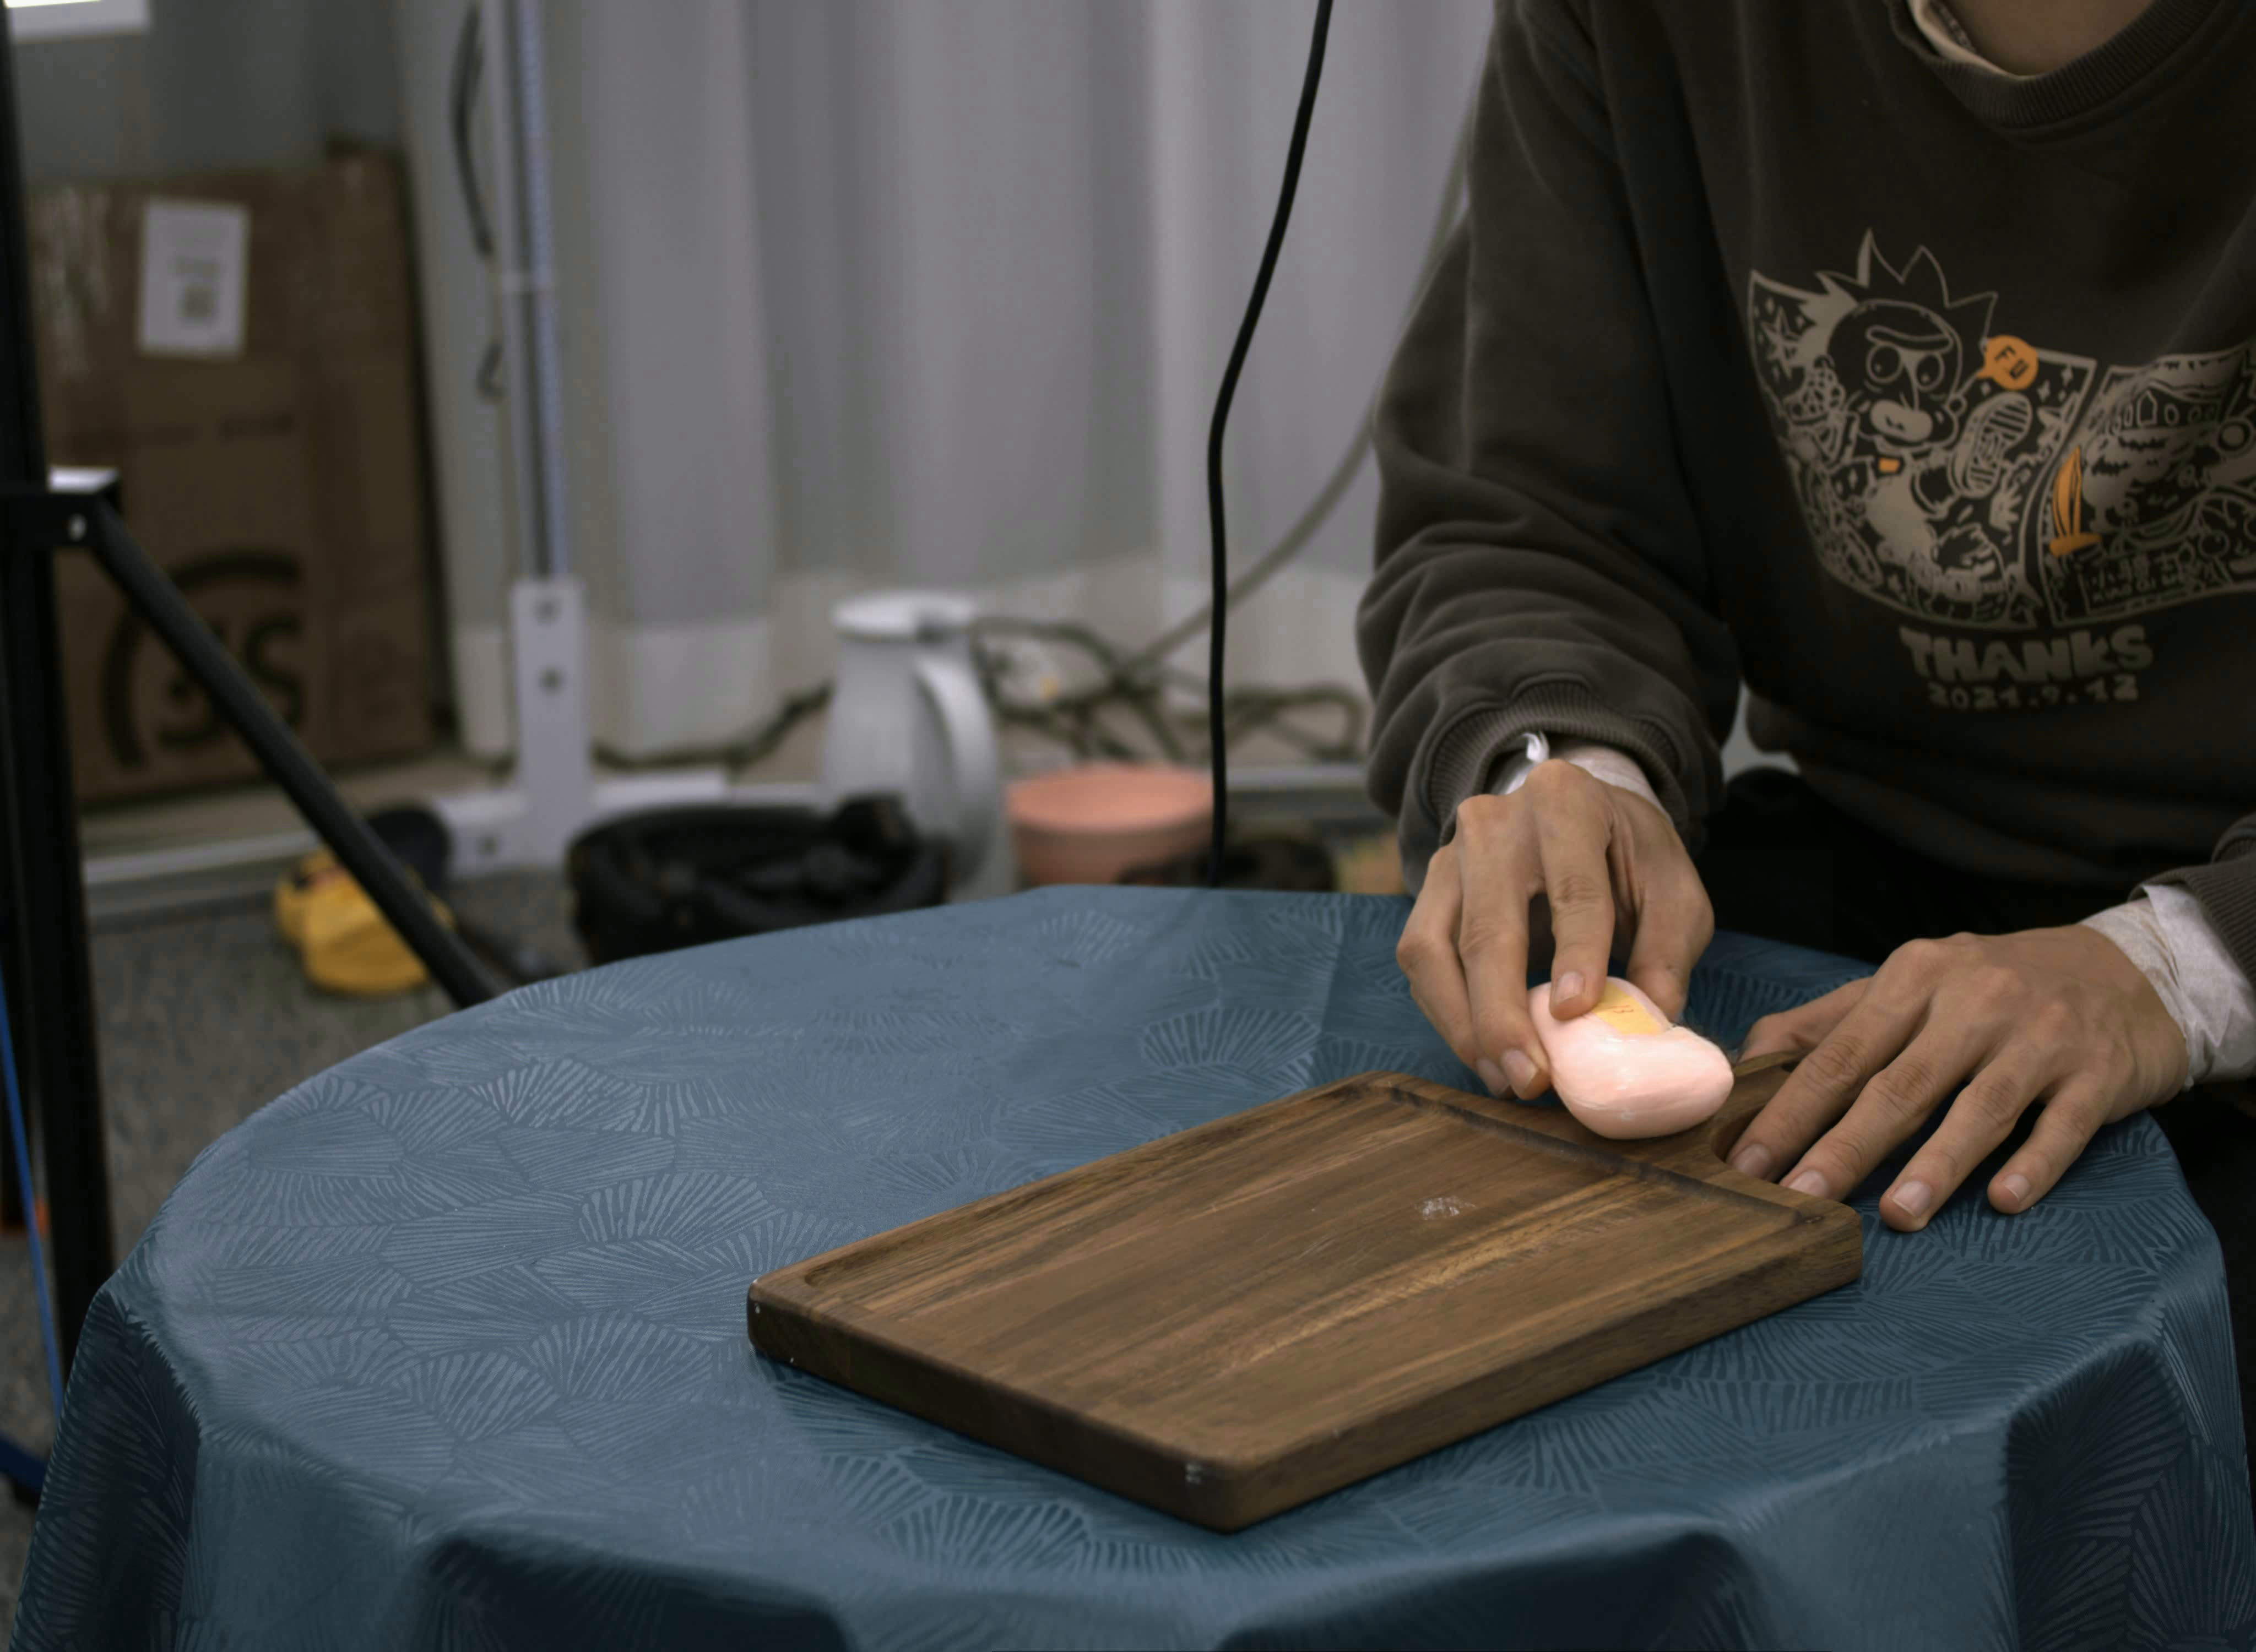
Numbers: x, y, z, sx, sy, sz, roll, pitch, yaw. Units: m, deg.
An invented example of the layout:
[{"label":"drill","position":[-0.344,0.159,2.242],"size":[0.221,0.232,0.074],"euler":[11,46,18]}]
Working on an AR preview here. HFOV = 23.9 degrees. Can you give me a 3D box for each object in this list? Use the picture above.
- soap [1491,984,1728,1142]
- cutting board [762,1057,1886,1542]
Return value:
[{"label":"soap","position":[0.141,0.069,1.555],"size":[0.049,0.030,0.095],"euler":[-5,13,-13]},{"label":"cutting board","position":[0.092,0.117,1.477],"size":[0.344,0.023,0.206],"euler":[-15,20,-38]}]
